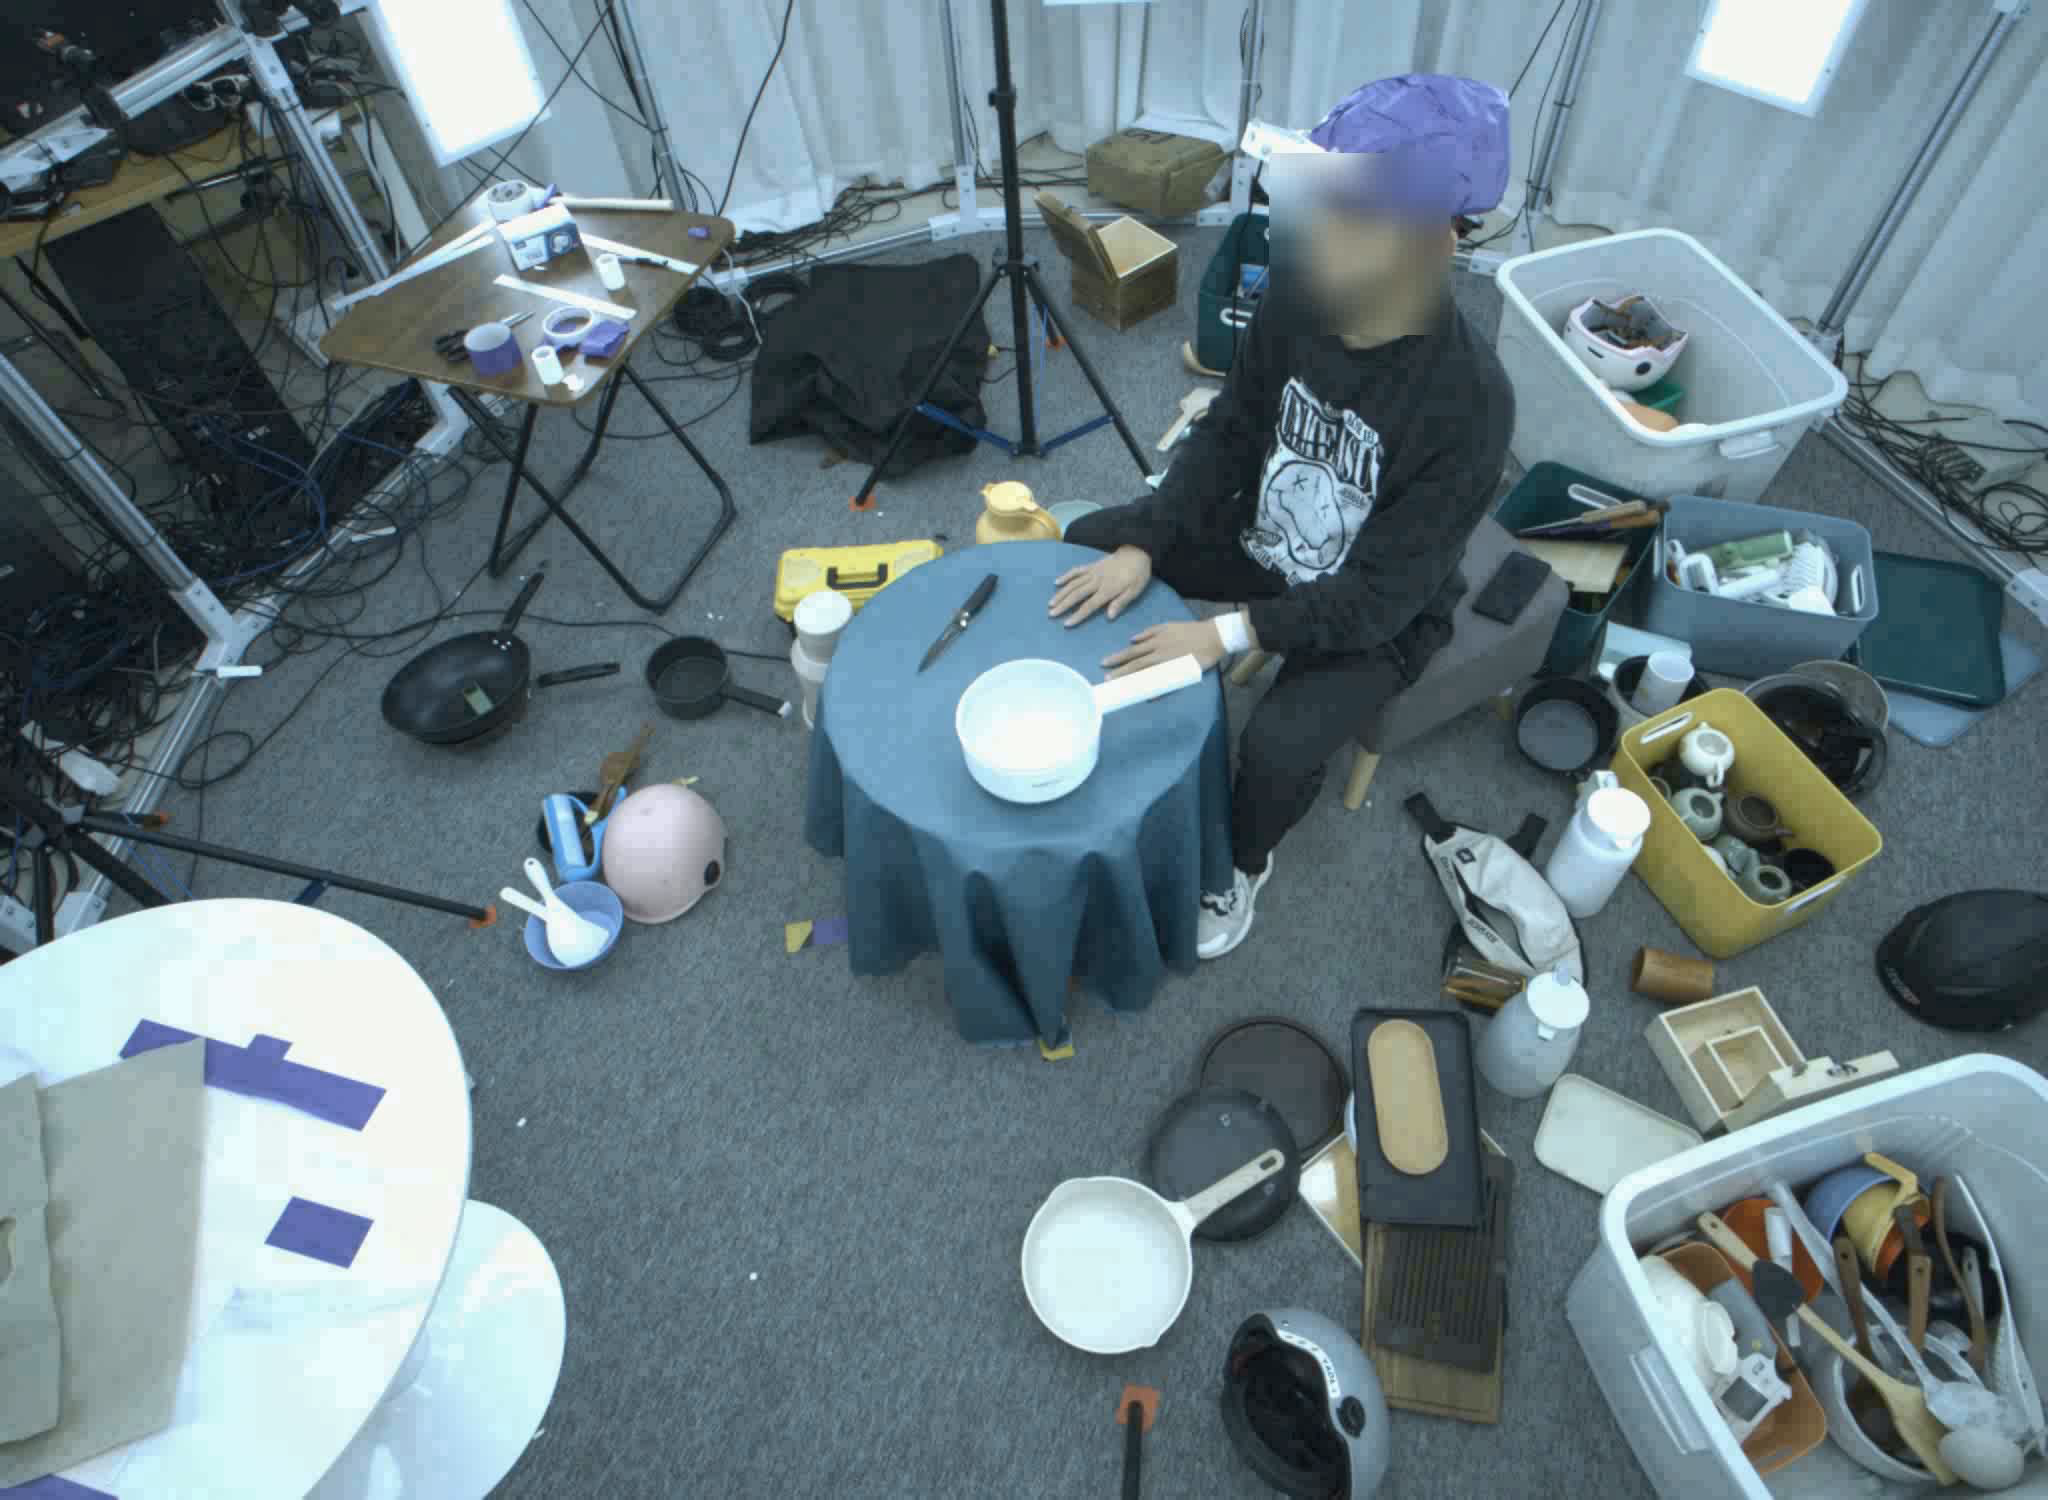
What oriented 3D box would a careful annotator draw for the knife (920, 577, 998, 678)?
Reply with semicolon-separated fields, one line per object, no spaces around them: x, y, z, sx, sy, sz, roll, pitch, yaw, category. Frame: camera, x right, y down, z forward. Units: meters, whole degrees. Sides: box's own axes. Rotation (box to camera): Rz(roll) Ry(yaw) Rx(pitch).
-0.105;-0.194;1.920;0.026;0.017;0.226;32;61;7;knife

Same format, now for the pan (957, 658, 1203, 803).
0.082;-0.043;1.753;0.357;0.103;0.197;-17;54;-11;pan
